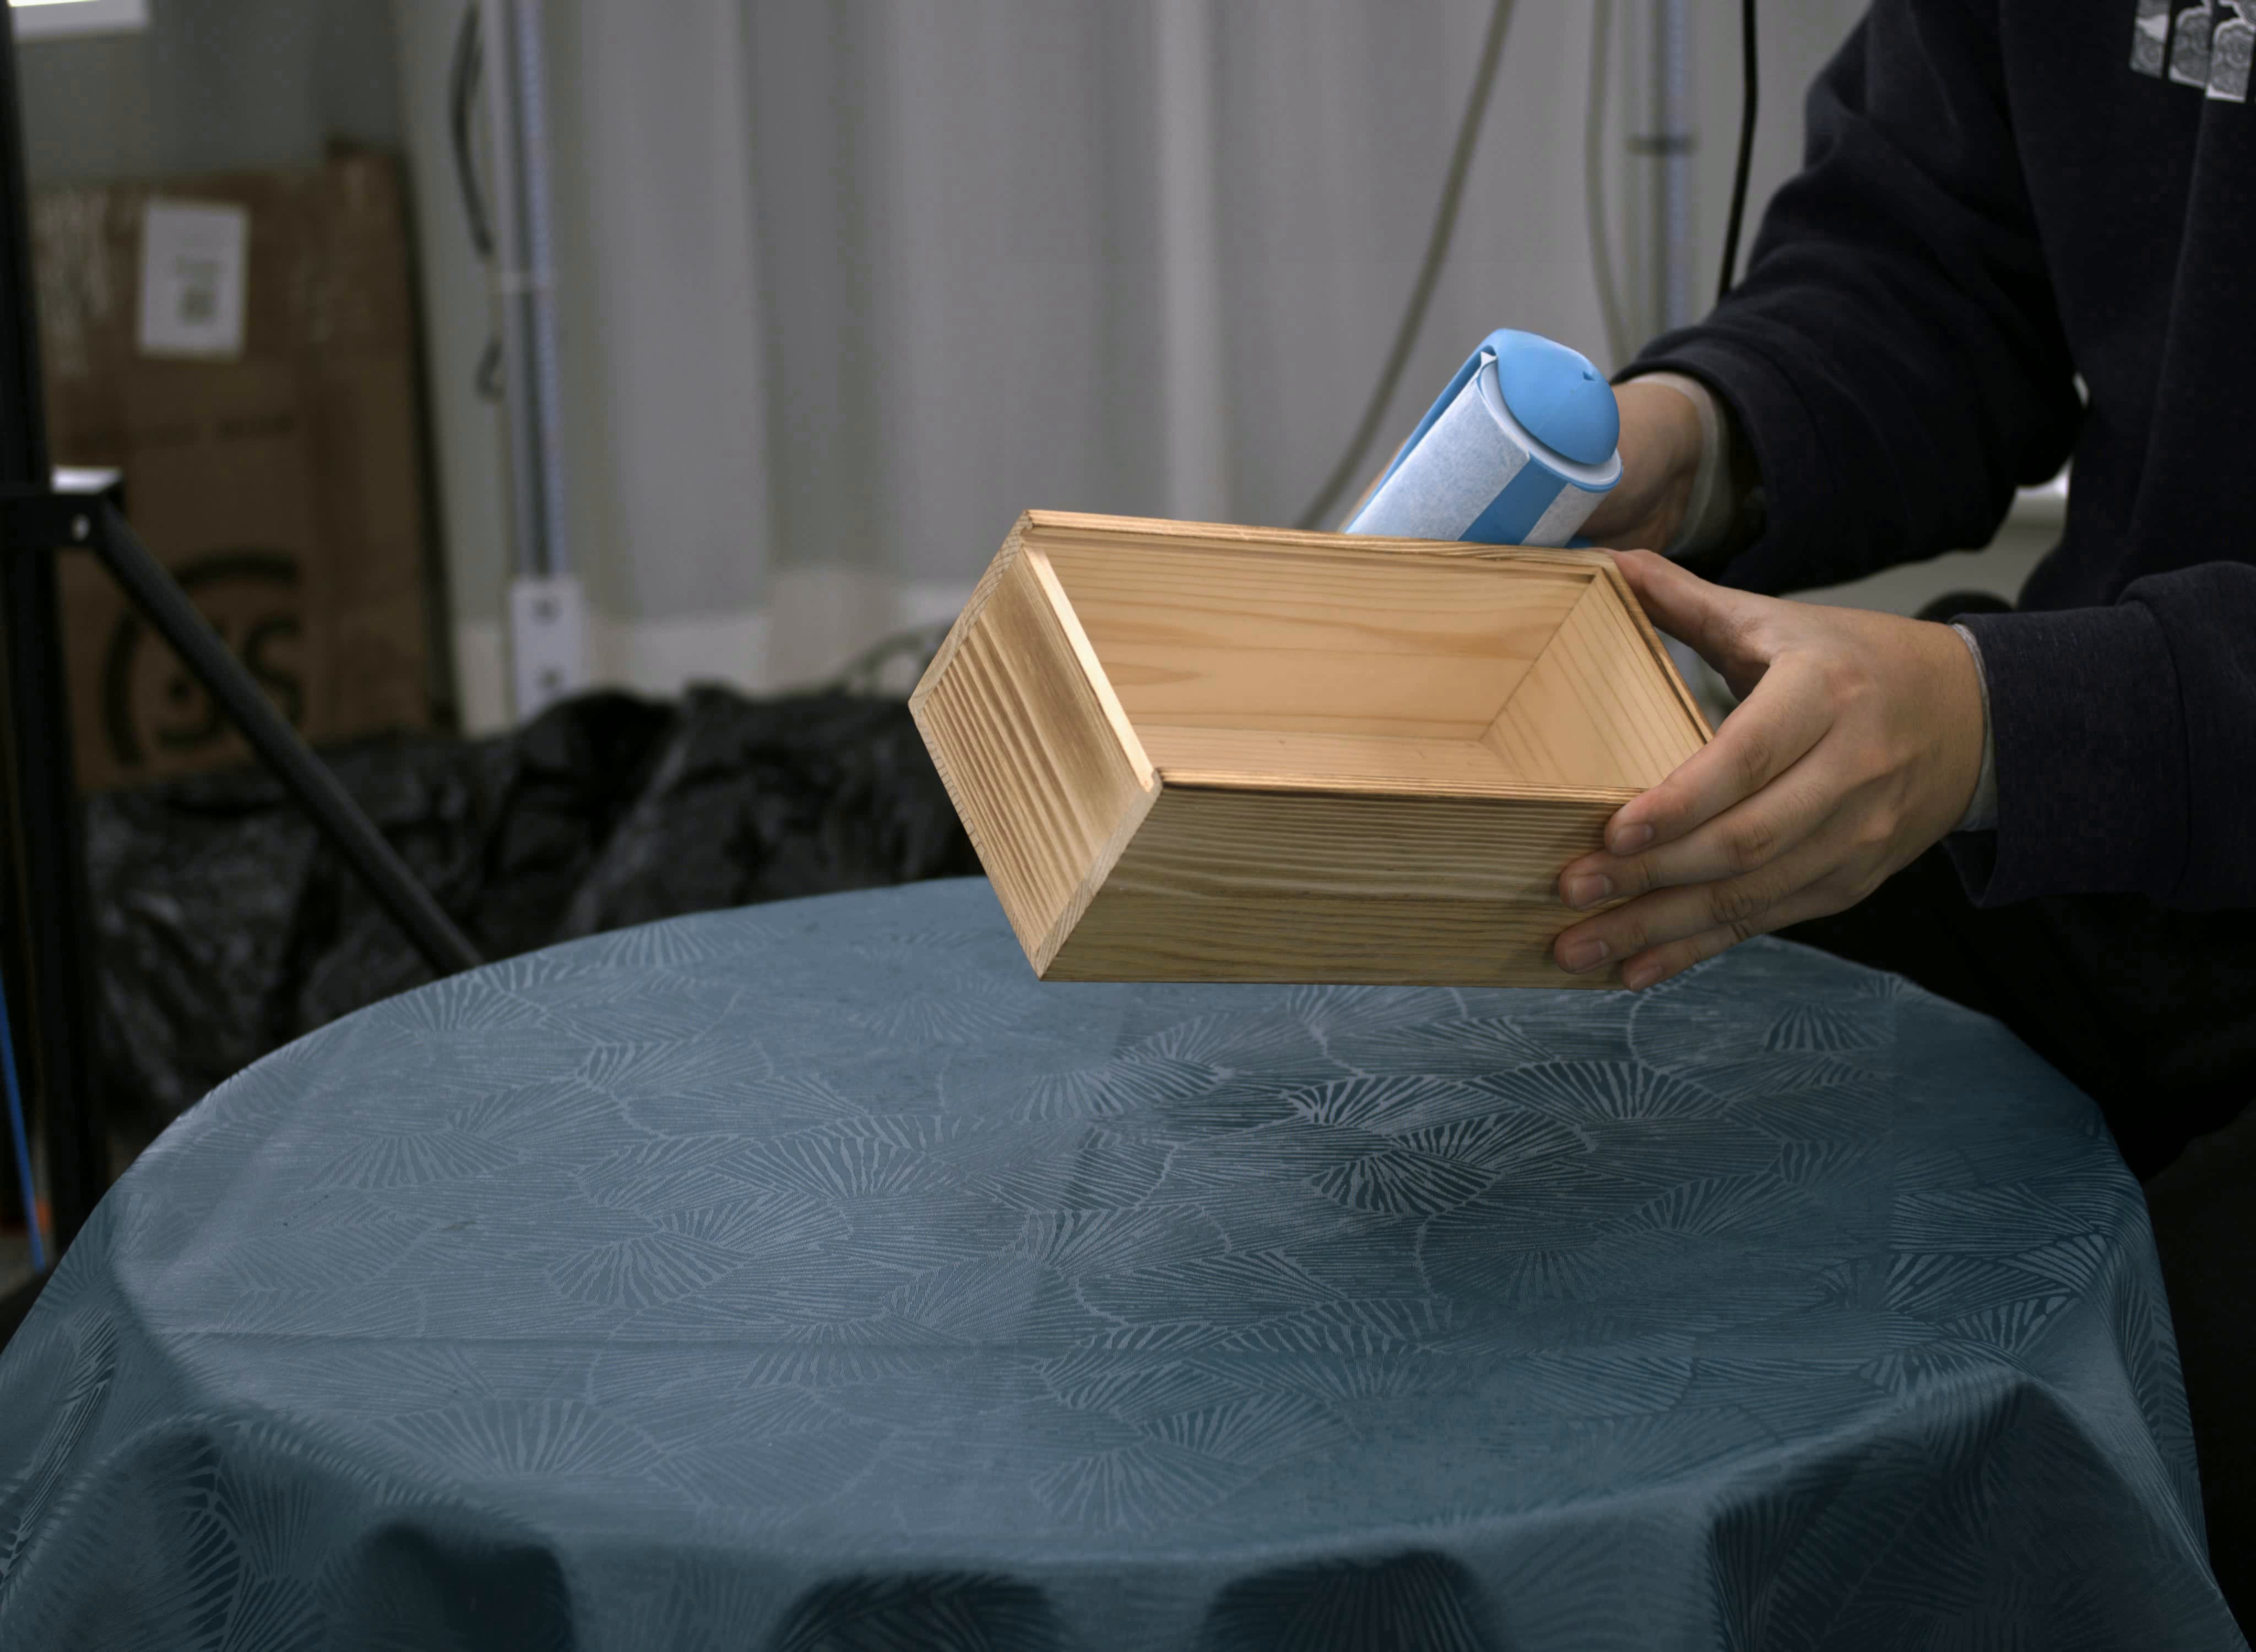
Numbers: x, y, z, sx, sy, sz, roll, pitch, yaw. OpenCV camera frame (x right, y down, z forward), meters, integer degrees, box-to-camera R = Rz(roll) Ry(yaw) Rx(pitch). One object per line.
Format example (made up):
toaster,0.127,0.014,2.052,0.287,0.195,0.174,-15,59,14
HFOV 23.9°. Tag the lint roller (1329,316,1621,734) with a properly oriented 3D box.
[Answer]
lint roller,0.093,-0.075,1.662,0.068,0.230,0.178,40,28,5

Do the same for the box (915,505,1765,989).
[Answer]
box,0.061,-0.020,1.510,0.206,0.081,0.109,2,46,-34
